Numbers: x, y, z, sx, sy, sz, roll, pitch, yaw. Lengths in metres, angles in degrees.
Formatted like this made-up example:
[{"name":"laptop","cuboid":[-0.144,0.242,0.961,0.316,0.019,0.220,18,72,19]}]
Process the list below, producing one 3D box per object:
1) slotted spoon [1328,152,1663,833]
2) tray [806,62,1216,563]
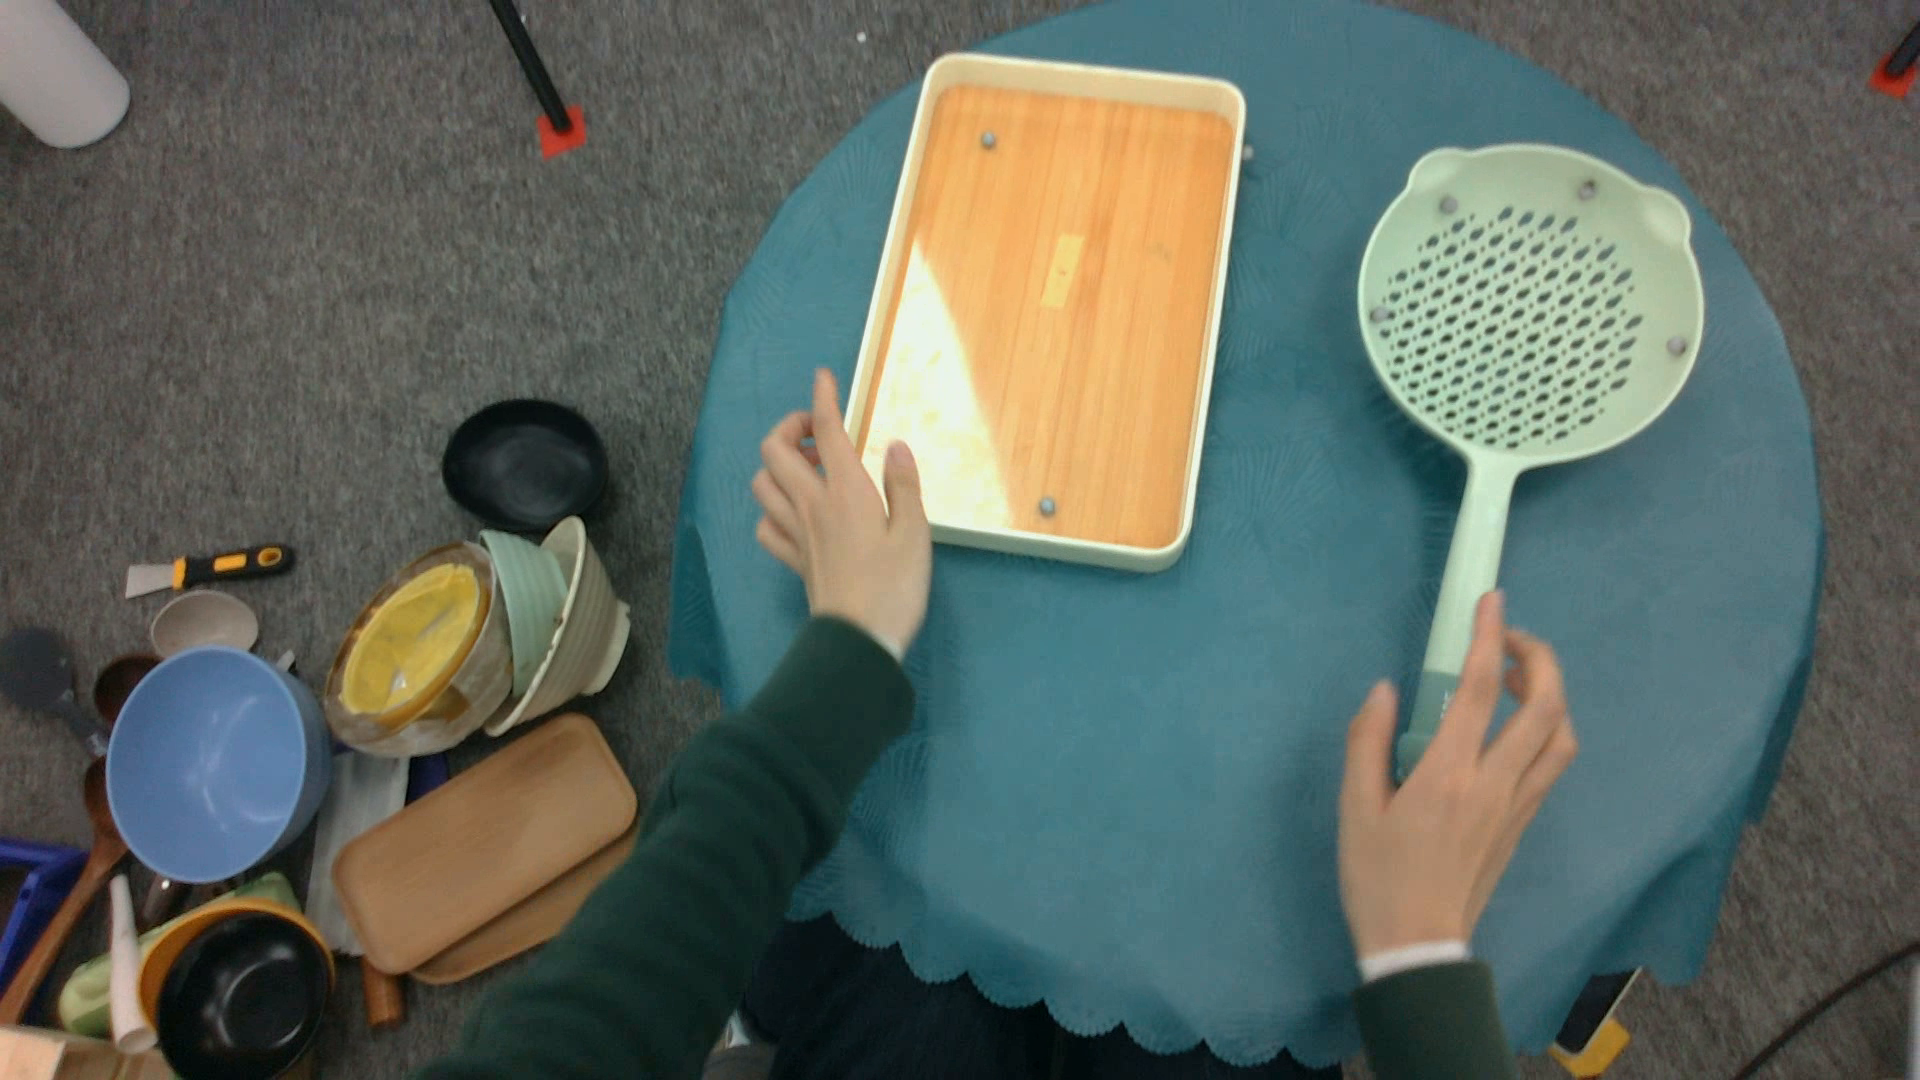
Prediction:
[{"name":"slotted spoon","cuboid":[0.252,-0.031,0.700,0.169,0.075,0.360,14,68,9]},{"name":"tray","cuboid":[0.035,-0.138,0.776,0.191,0.027,0.301,8,67,6]}]
